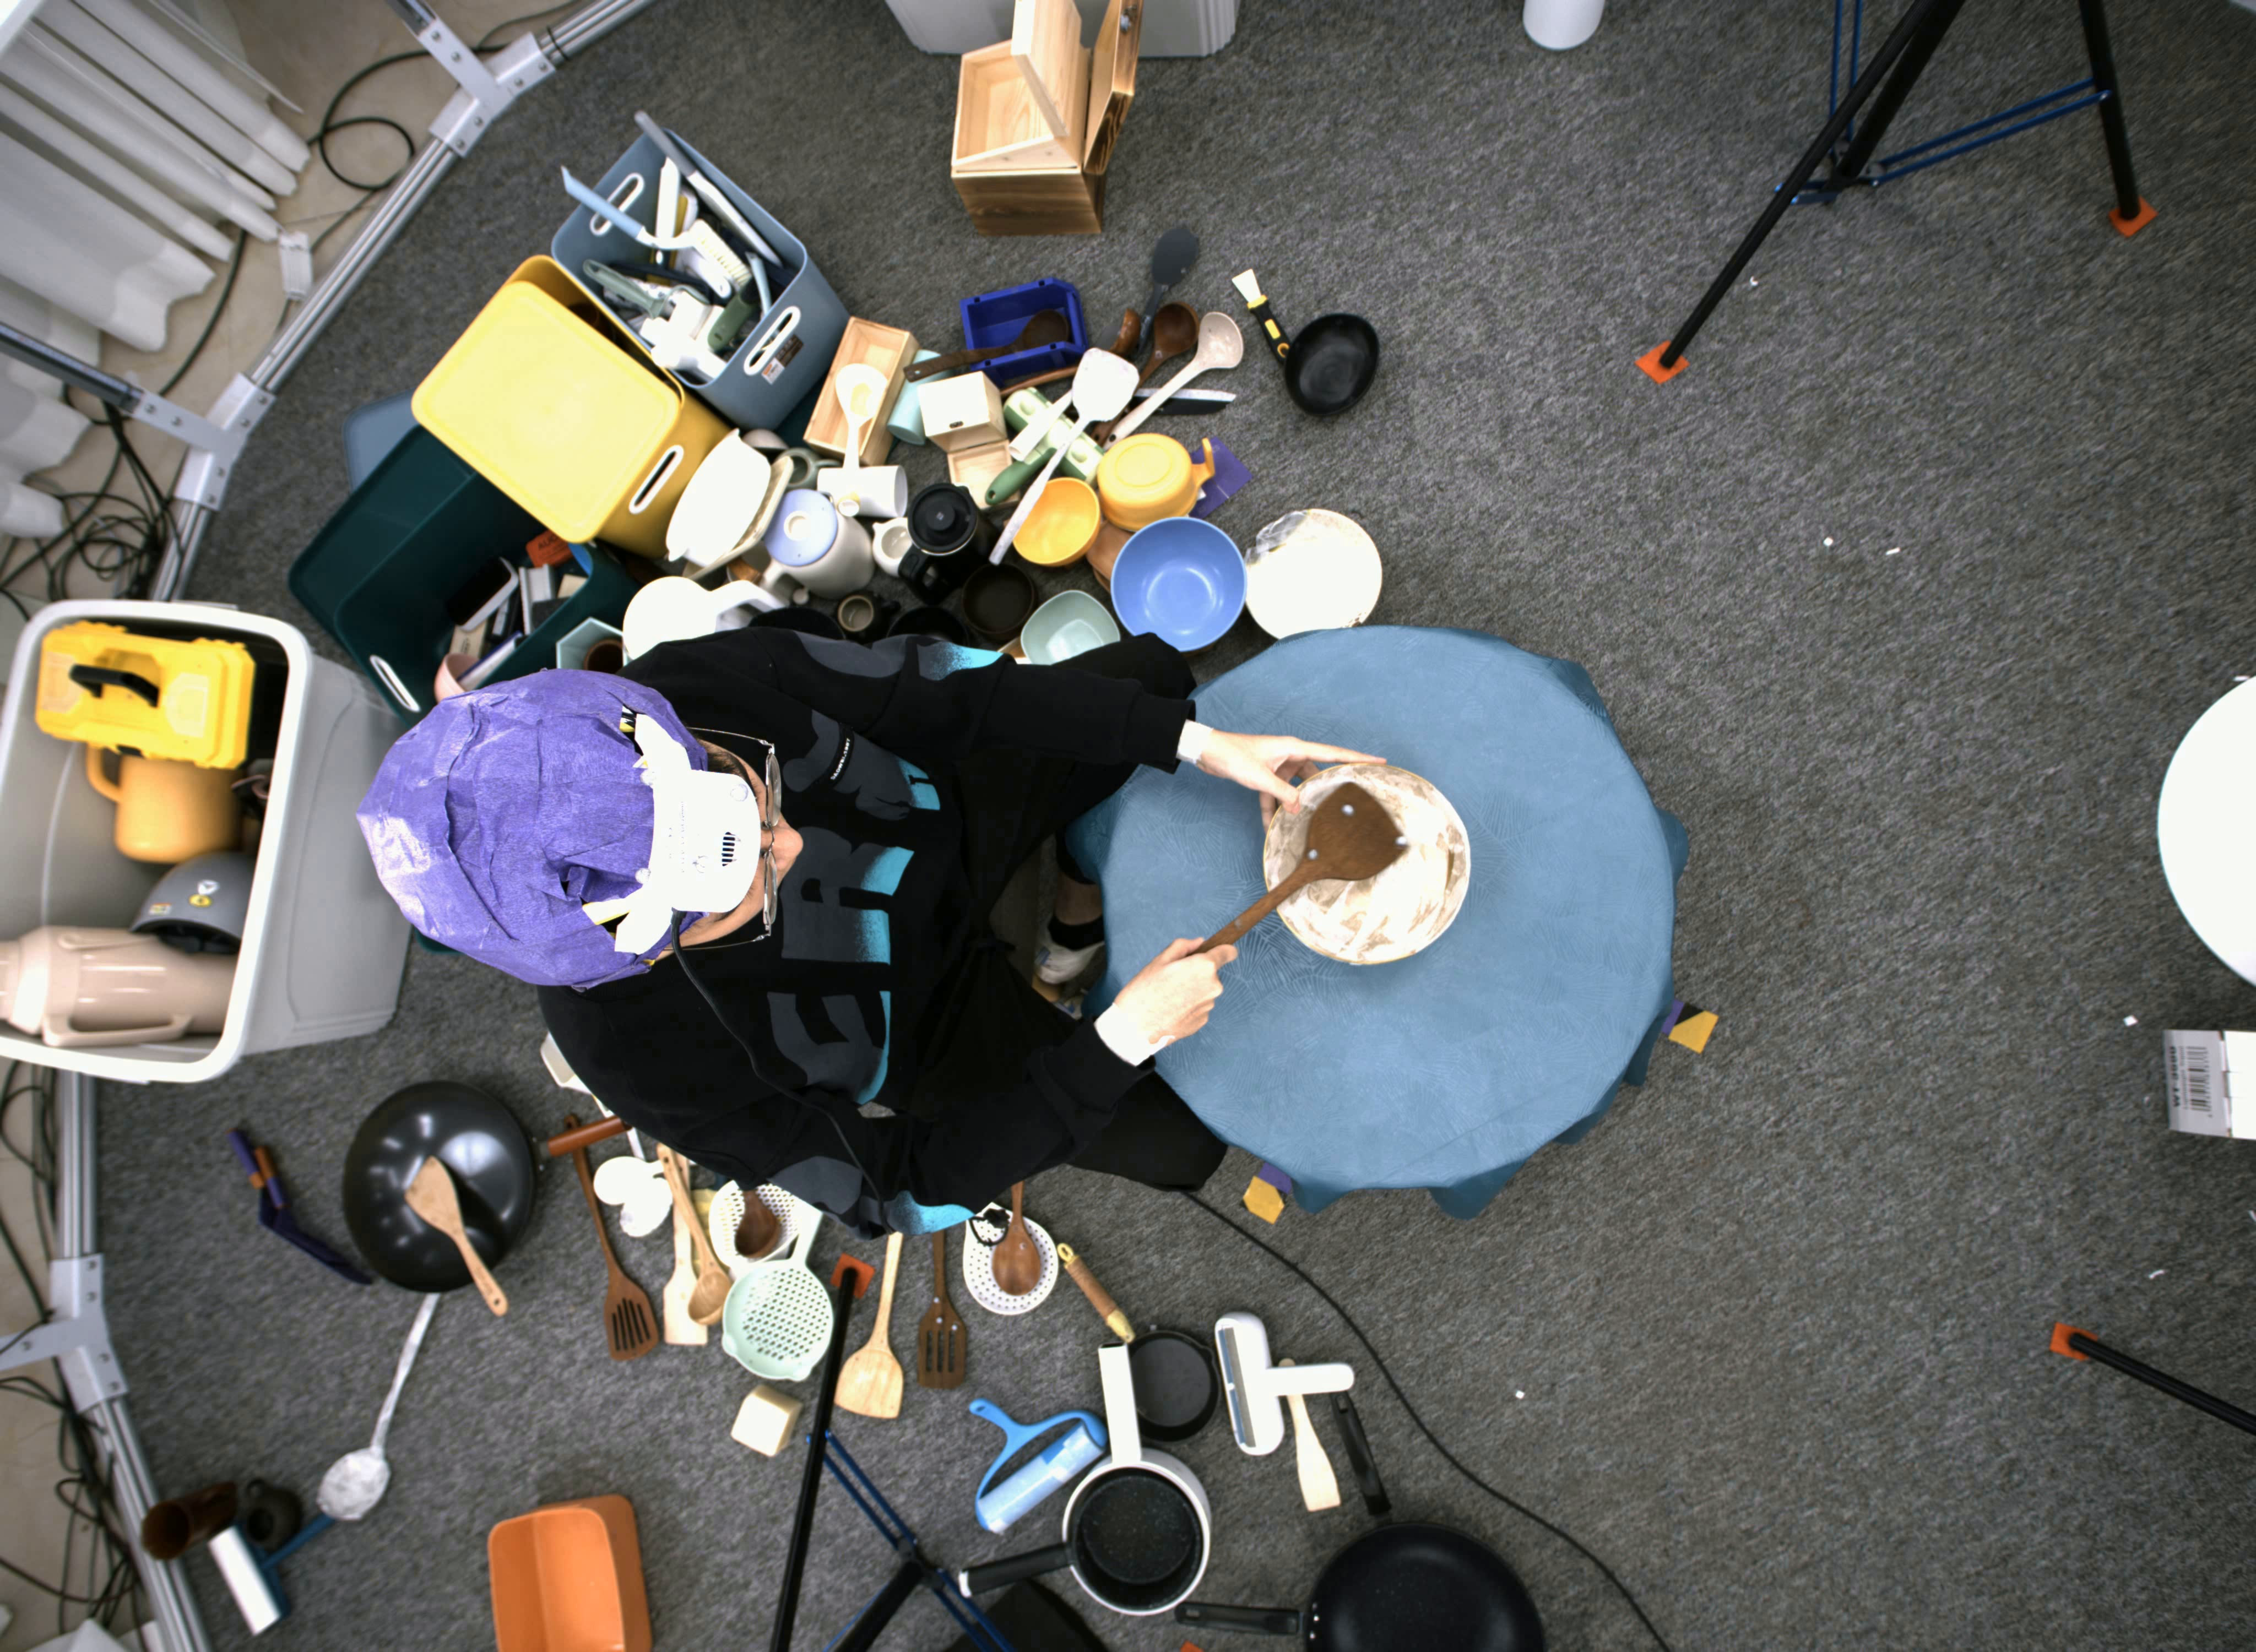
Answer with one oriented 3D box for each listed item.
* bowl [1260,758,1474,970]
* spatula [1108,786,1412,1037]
[{"bbox_3d":[0.240,0.041,1.397,0.215,0.095,0.213,-1,85,10],"label":"bowl"},{"bbox_3d":[0.128,0.087,1.335,0.380,0.016,0.096,-35,84,-24],"label":"spatula"}]
